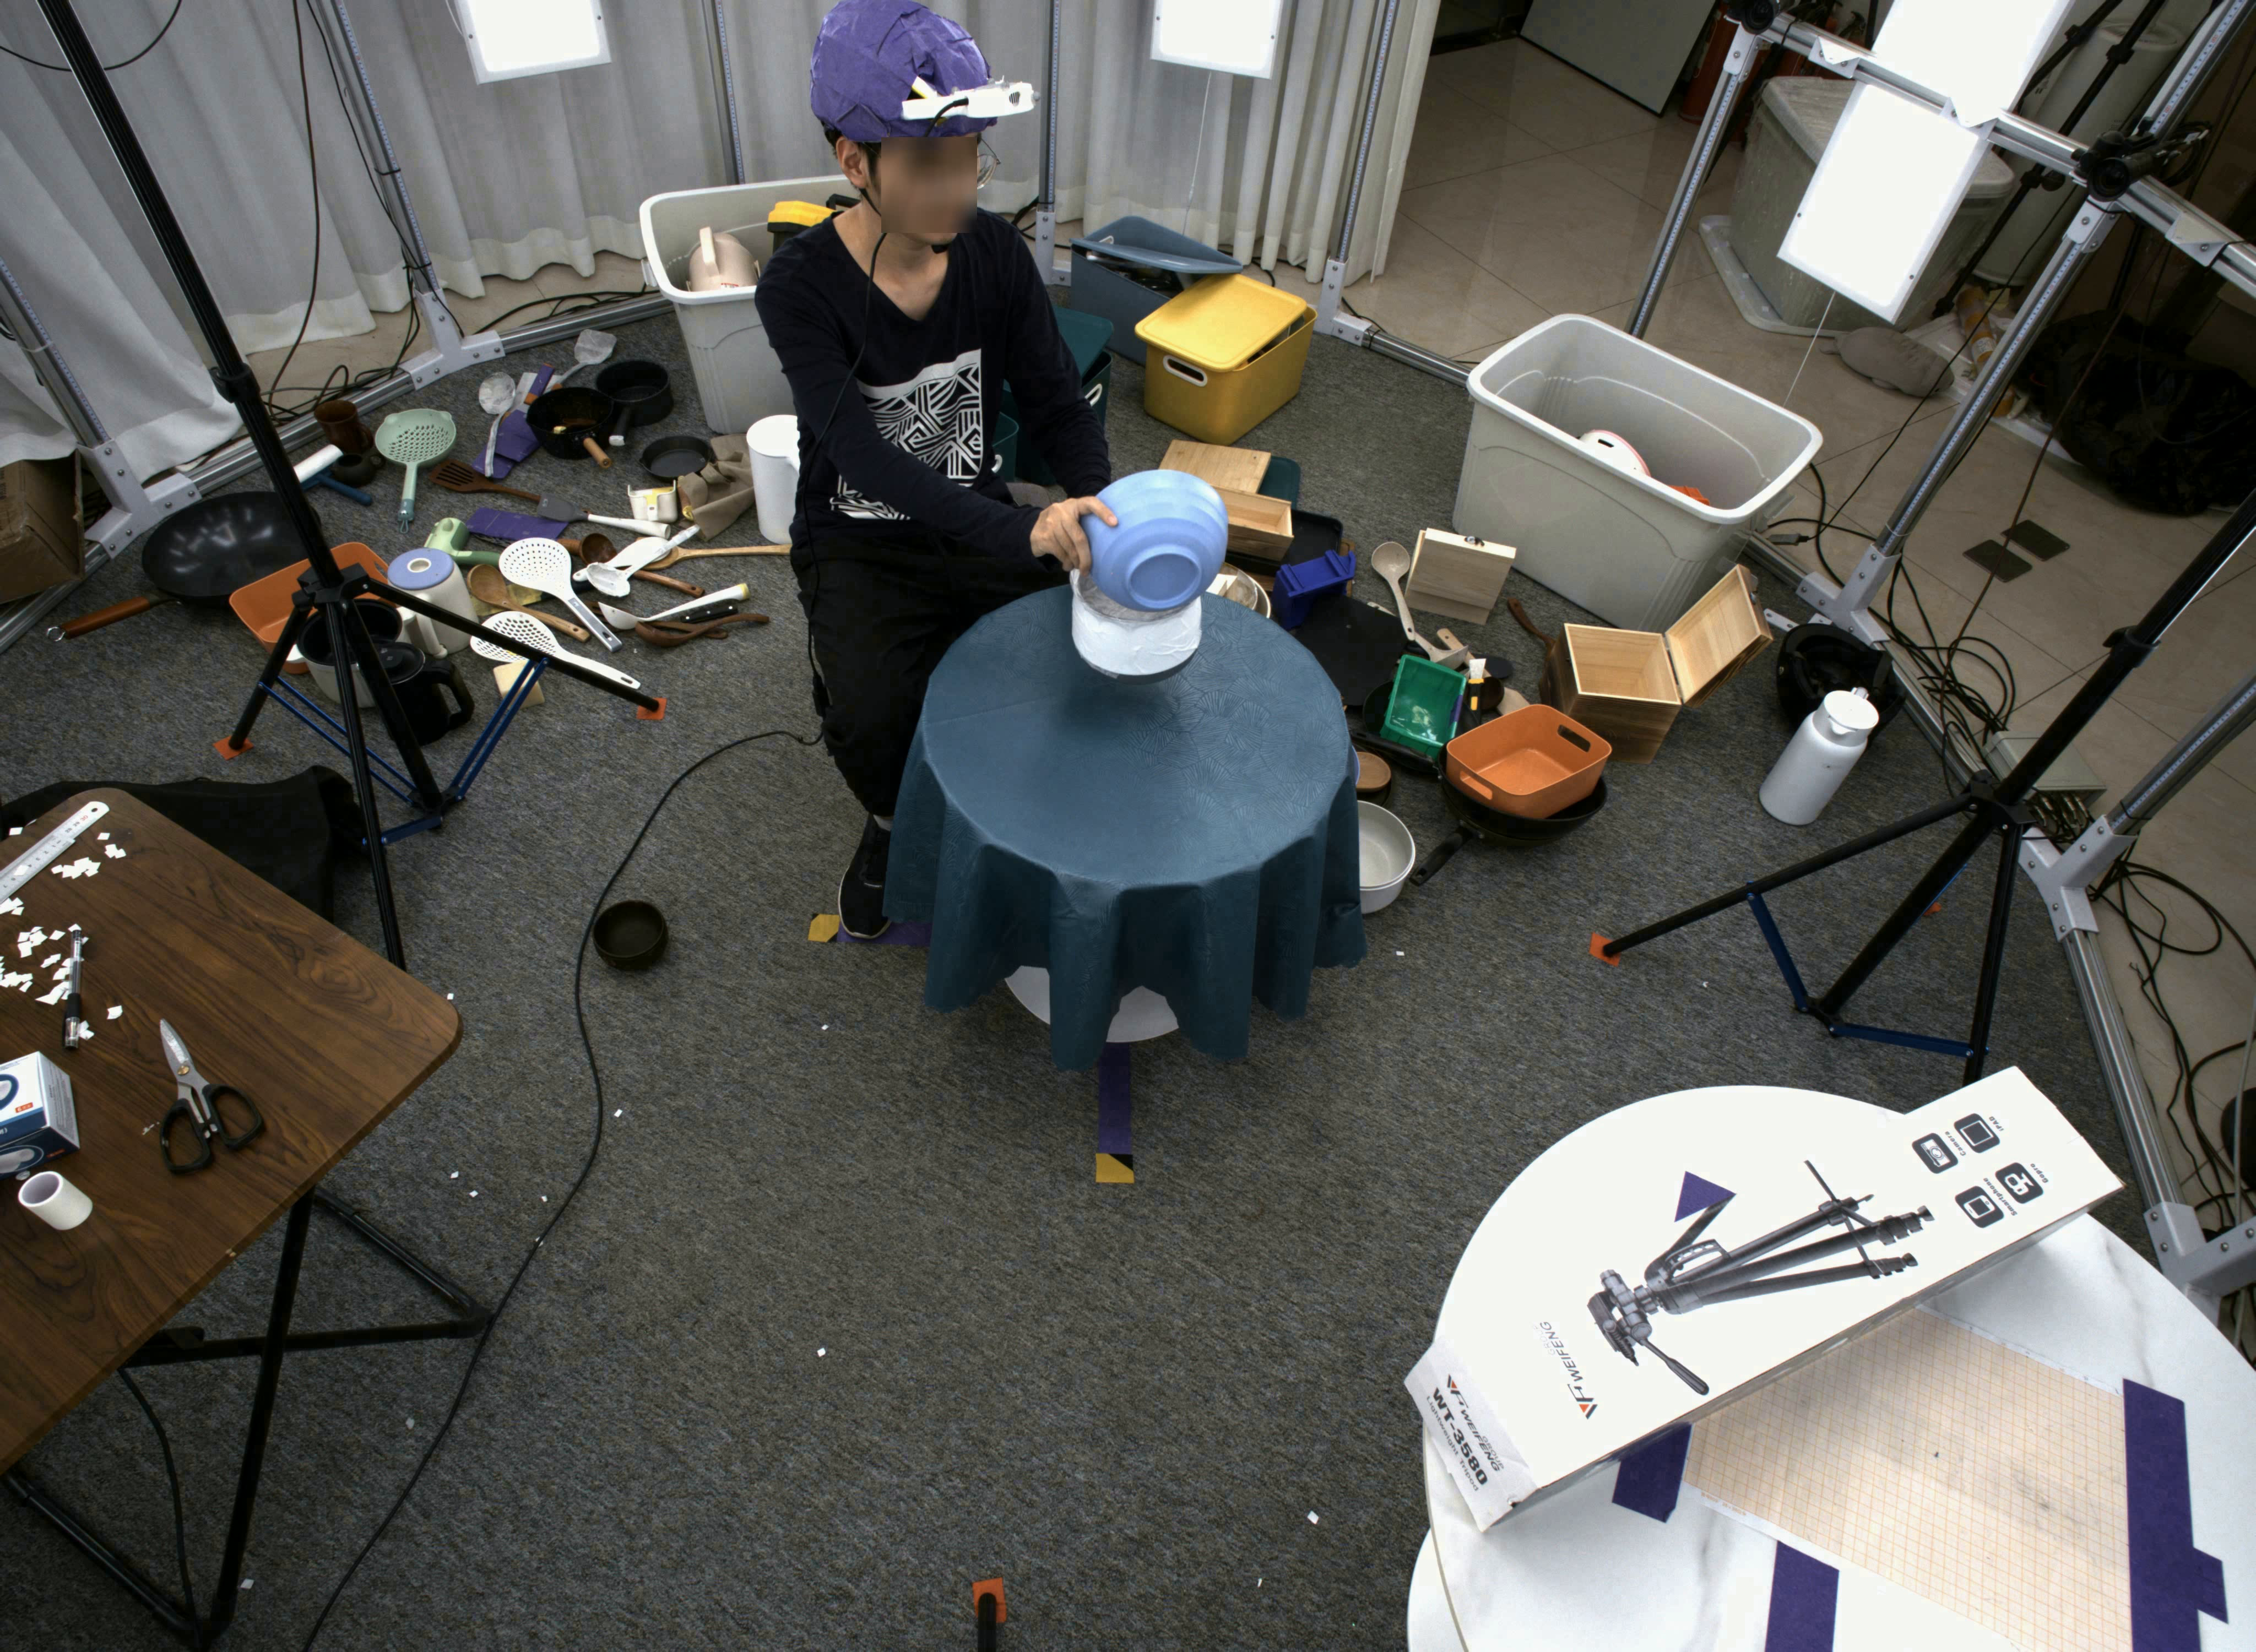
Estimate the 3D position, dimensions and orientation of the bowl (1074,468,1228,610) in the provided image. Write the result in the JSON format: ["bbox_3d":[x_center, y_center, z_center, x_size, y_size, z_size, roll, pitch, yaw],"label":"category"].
[{"bbox_3d":[0.036,-0.336,1.597,0.196,0.192,0.098,-4,55,-8],"label":"bowl"}]

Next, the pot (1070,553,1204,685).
[{"bbox_3d":[0.003,-0.310,1.746,0.178,0.133,0.239,-12,52,-12],"label":"pot"}]
